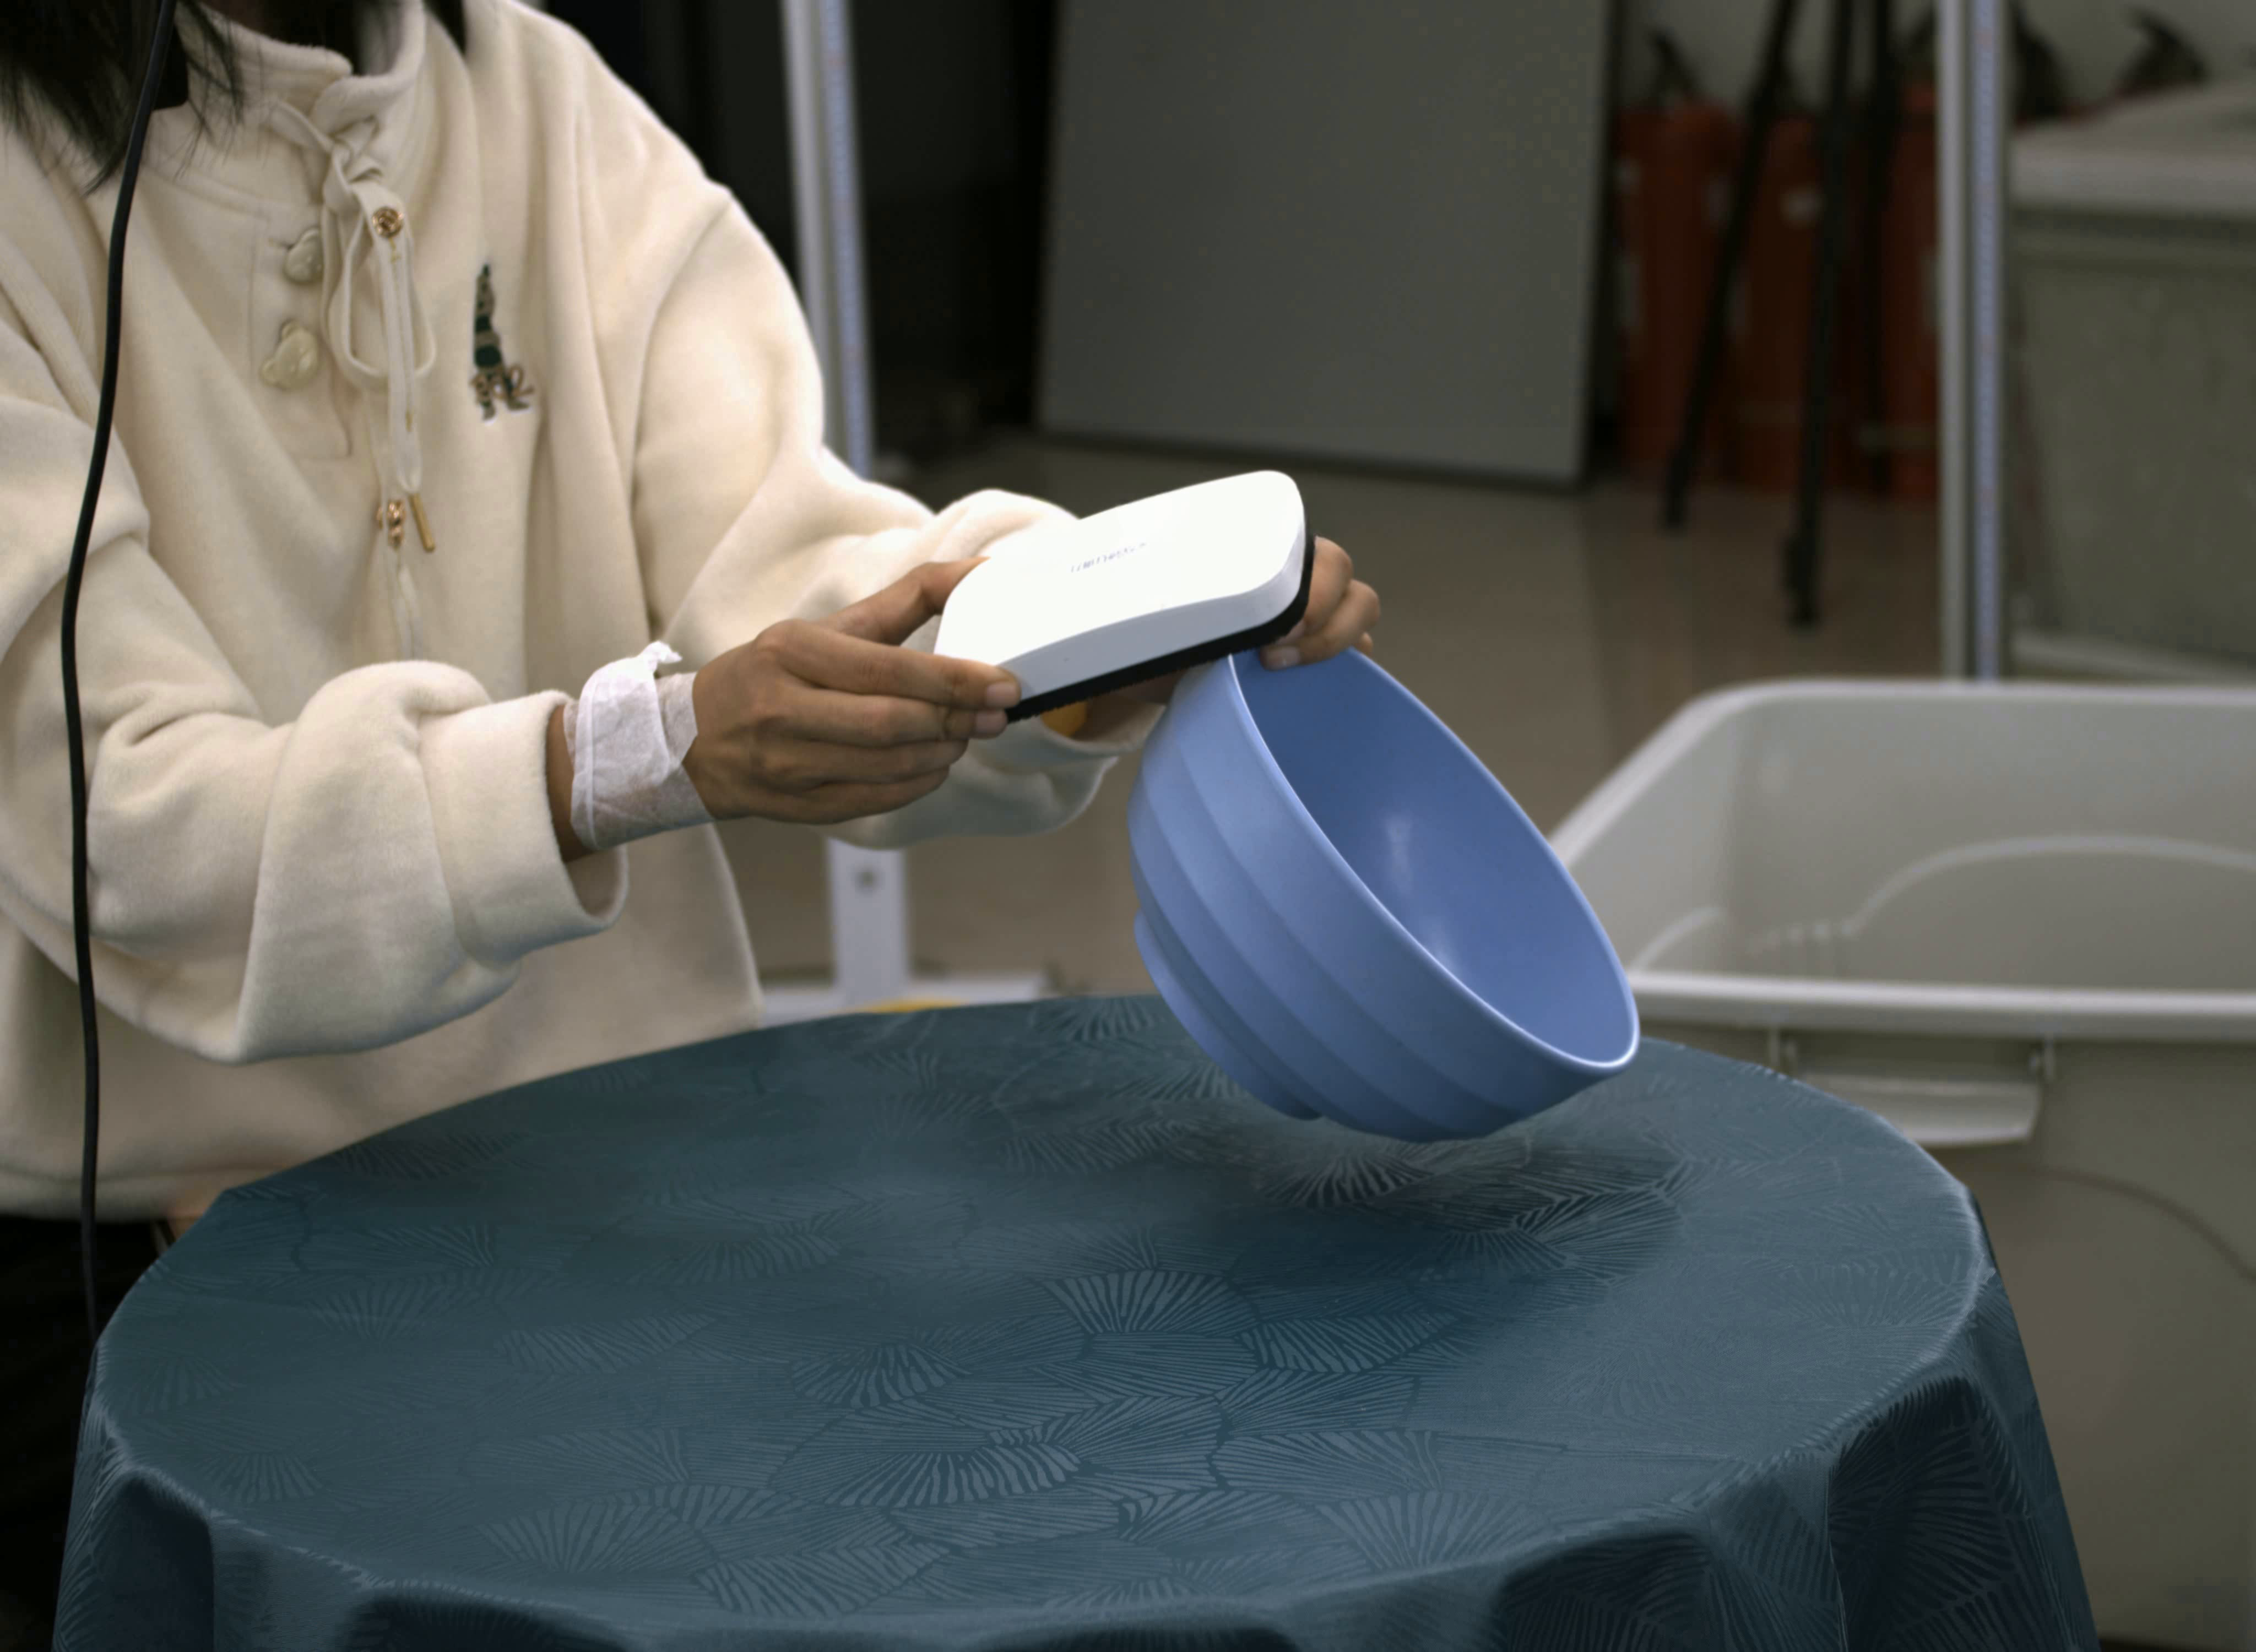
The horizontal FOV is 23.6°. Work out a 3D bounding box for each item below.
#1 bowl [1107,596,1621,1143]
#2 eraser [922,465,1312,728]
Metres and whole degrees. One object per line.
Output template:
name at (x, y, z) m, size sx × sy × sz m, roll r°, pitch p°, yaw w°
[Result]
bowl at (0.061, 0.028, 1.748) m, size 0.096 × 0.197 × 0.194 m, roll -41°, pitch -3°, yaw 24°
eraser at (-0.004, -0.075, 1.722) m, size 0.131 × 0.034 × 0.063 m, roll -17°, pitch 37°, yaw 25°
